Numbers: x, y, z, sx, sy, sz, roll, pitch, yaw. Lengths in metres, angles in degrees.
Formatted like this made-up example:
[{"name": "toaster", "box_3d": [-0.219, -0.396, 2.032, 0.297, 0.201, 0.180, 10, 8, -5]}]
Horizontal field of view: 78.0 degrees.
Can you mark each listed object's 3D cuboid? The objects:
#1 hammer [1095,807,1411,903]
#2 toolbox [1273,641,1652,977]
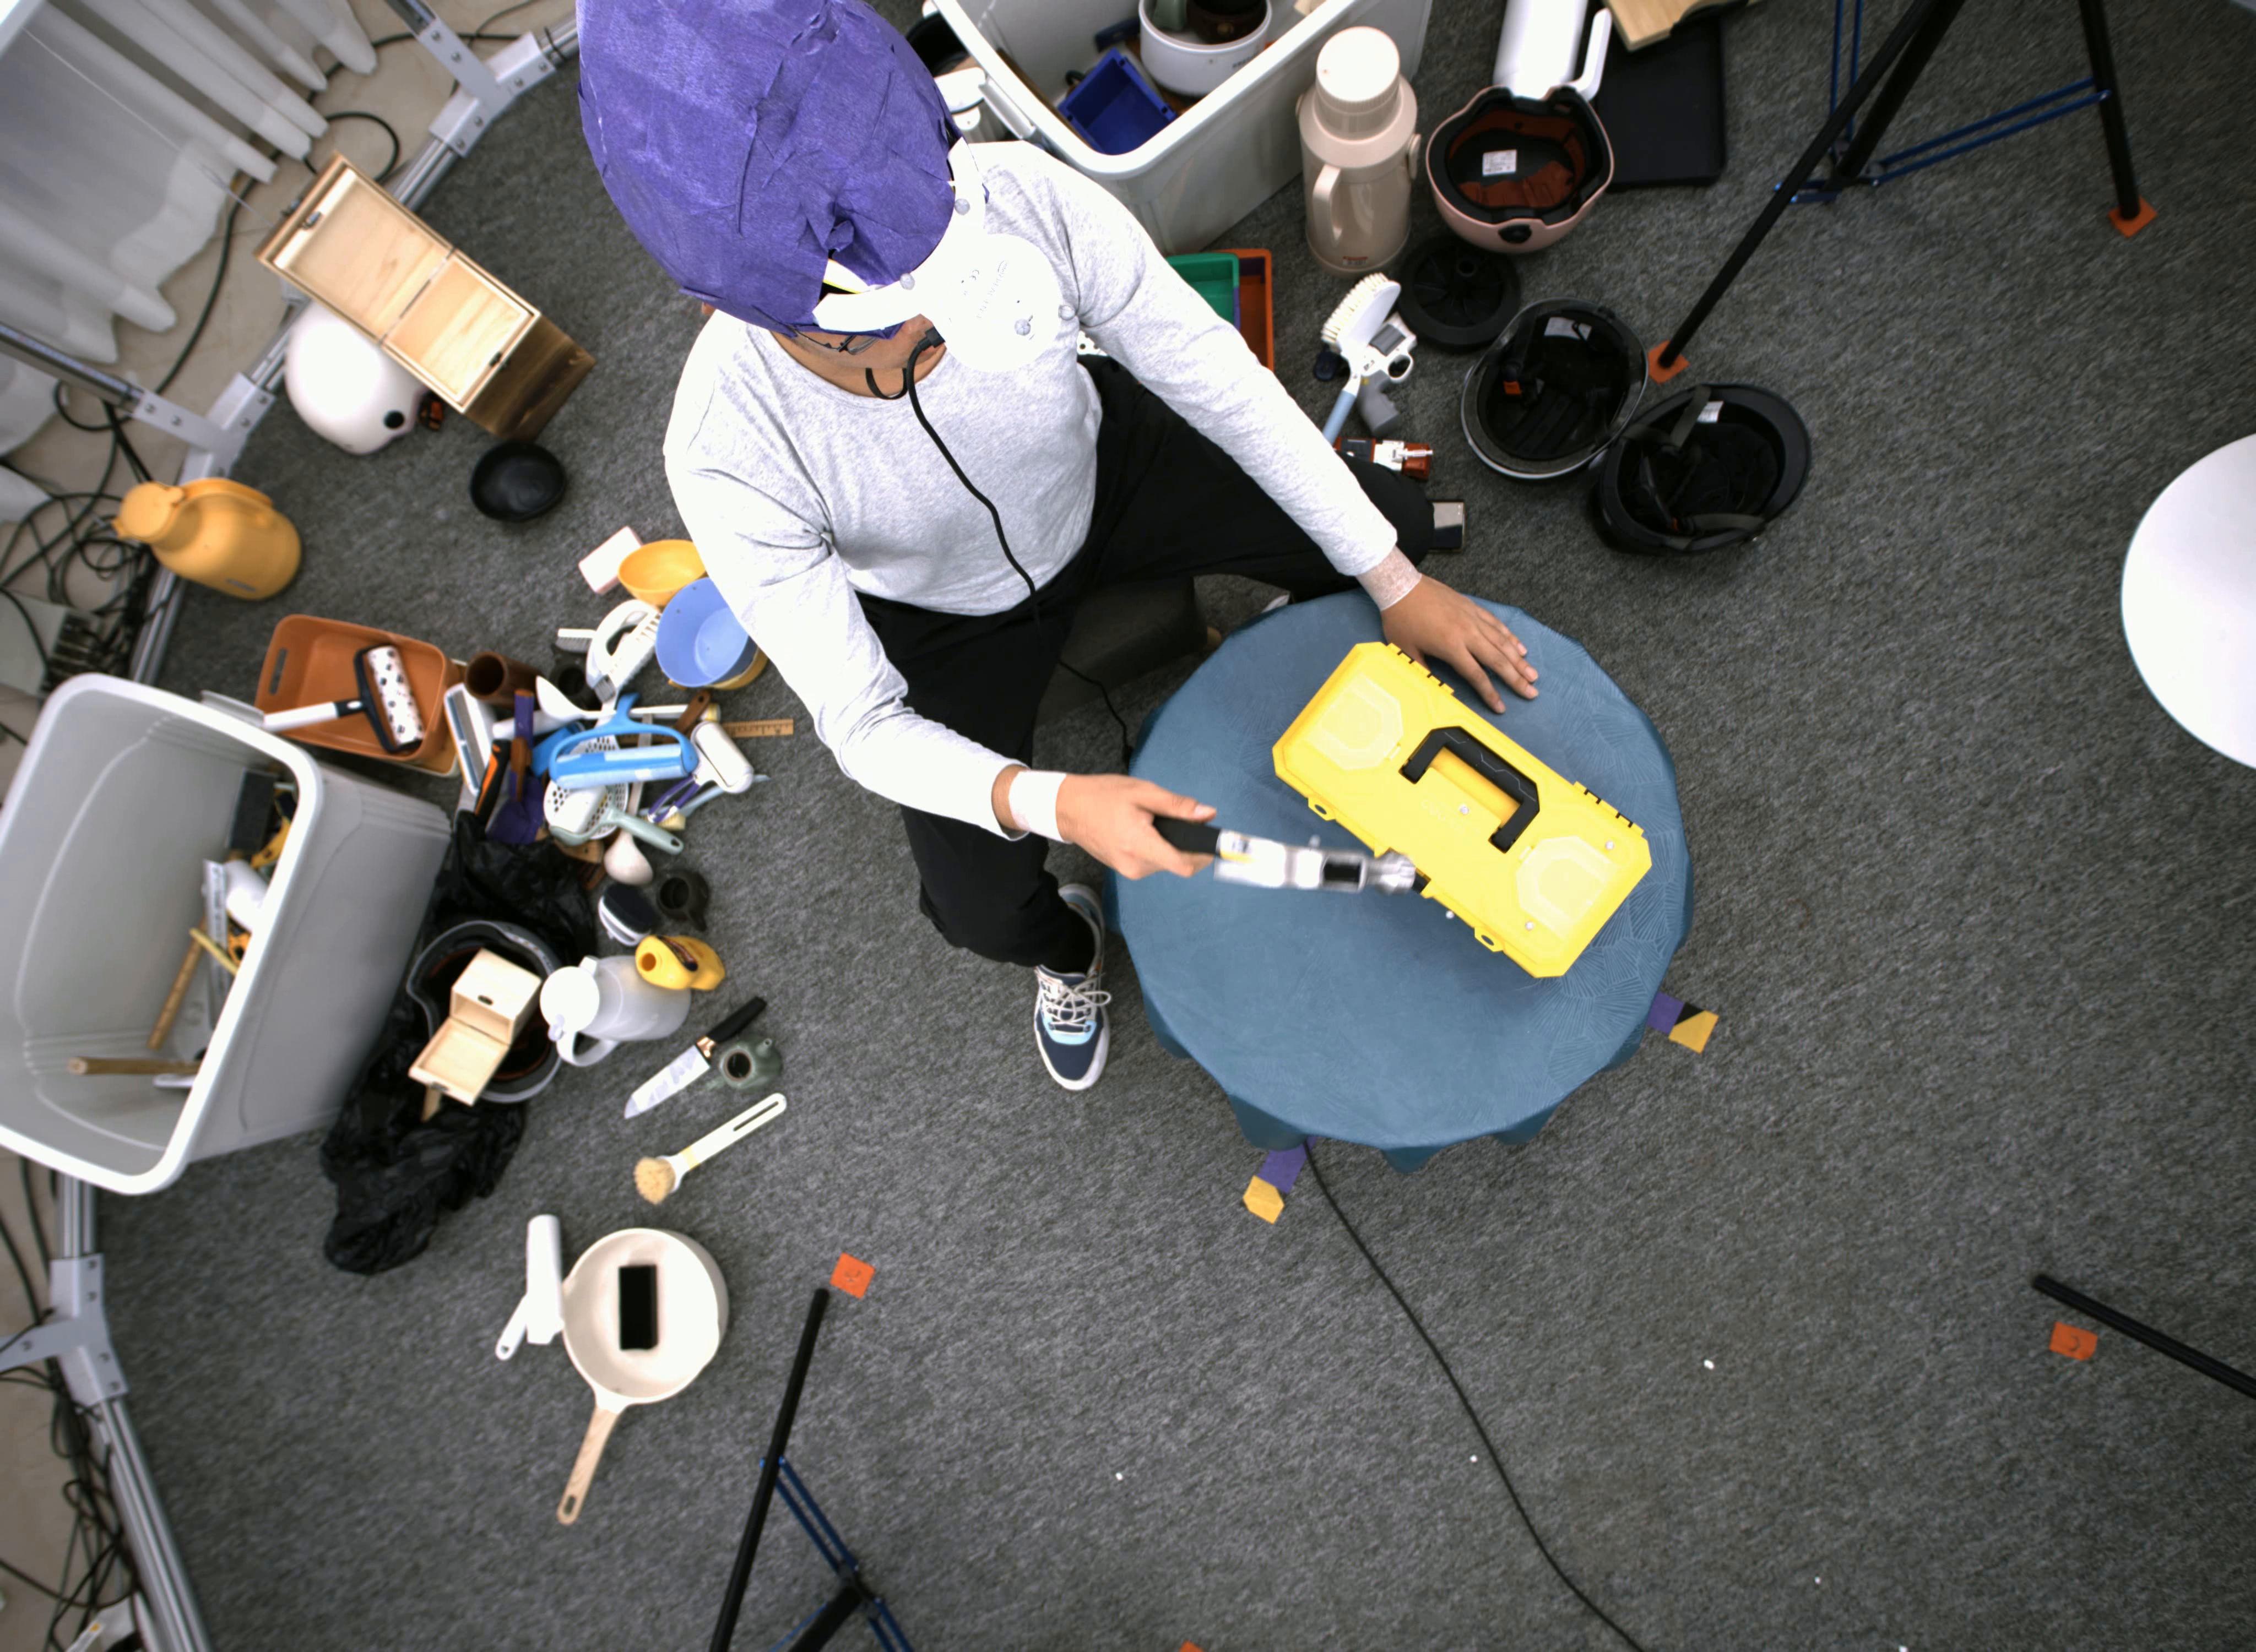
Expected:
[{"name": "hammer", "box_3d": [0.064, 0.016, 1.081, 0.131, 0.338, 0.032, 2, 97, -28]}, {"name": "toolbox", "box_3d": [0.325, -0.015, 1.368, 0.350, 0.173, 0.182, 40, 93, 11]}]
